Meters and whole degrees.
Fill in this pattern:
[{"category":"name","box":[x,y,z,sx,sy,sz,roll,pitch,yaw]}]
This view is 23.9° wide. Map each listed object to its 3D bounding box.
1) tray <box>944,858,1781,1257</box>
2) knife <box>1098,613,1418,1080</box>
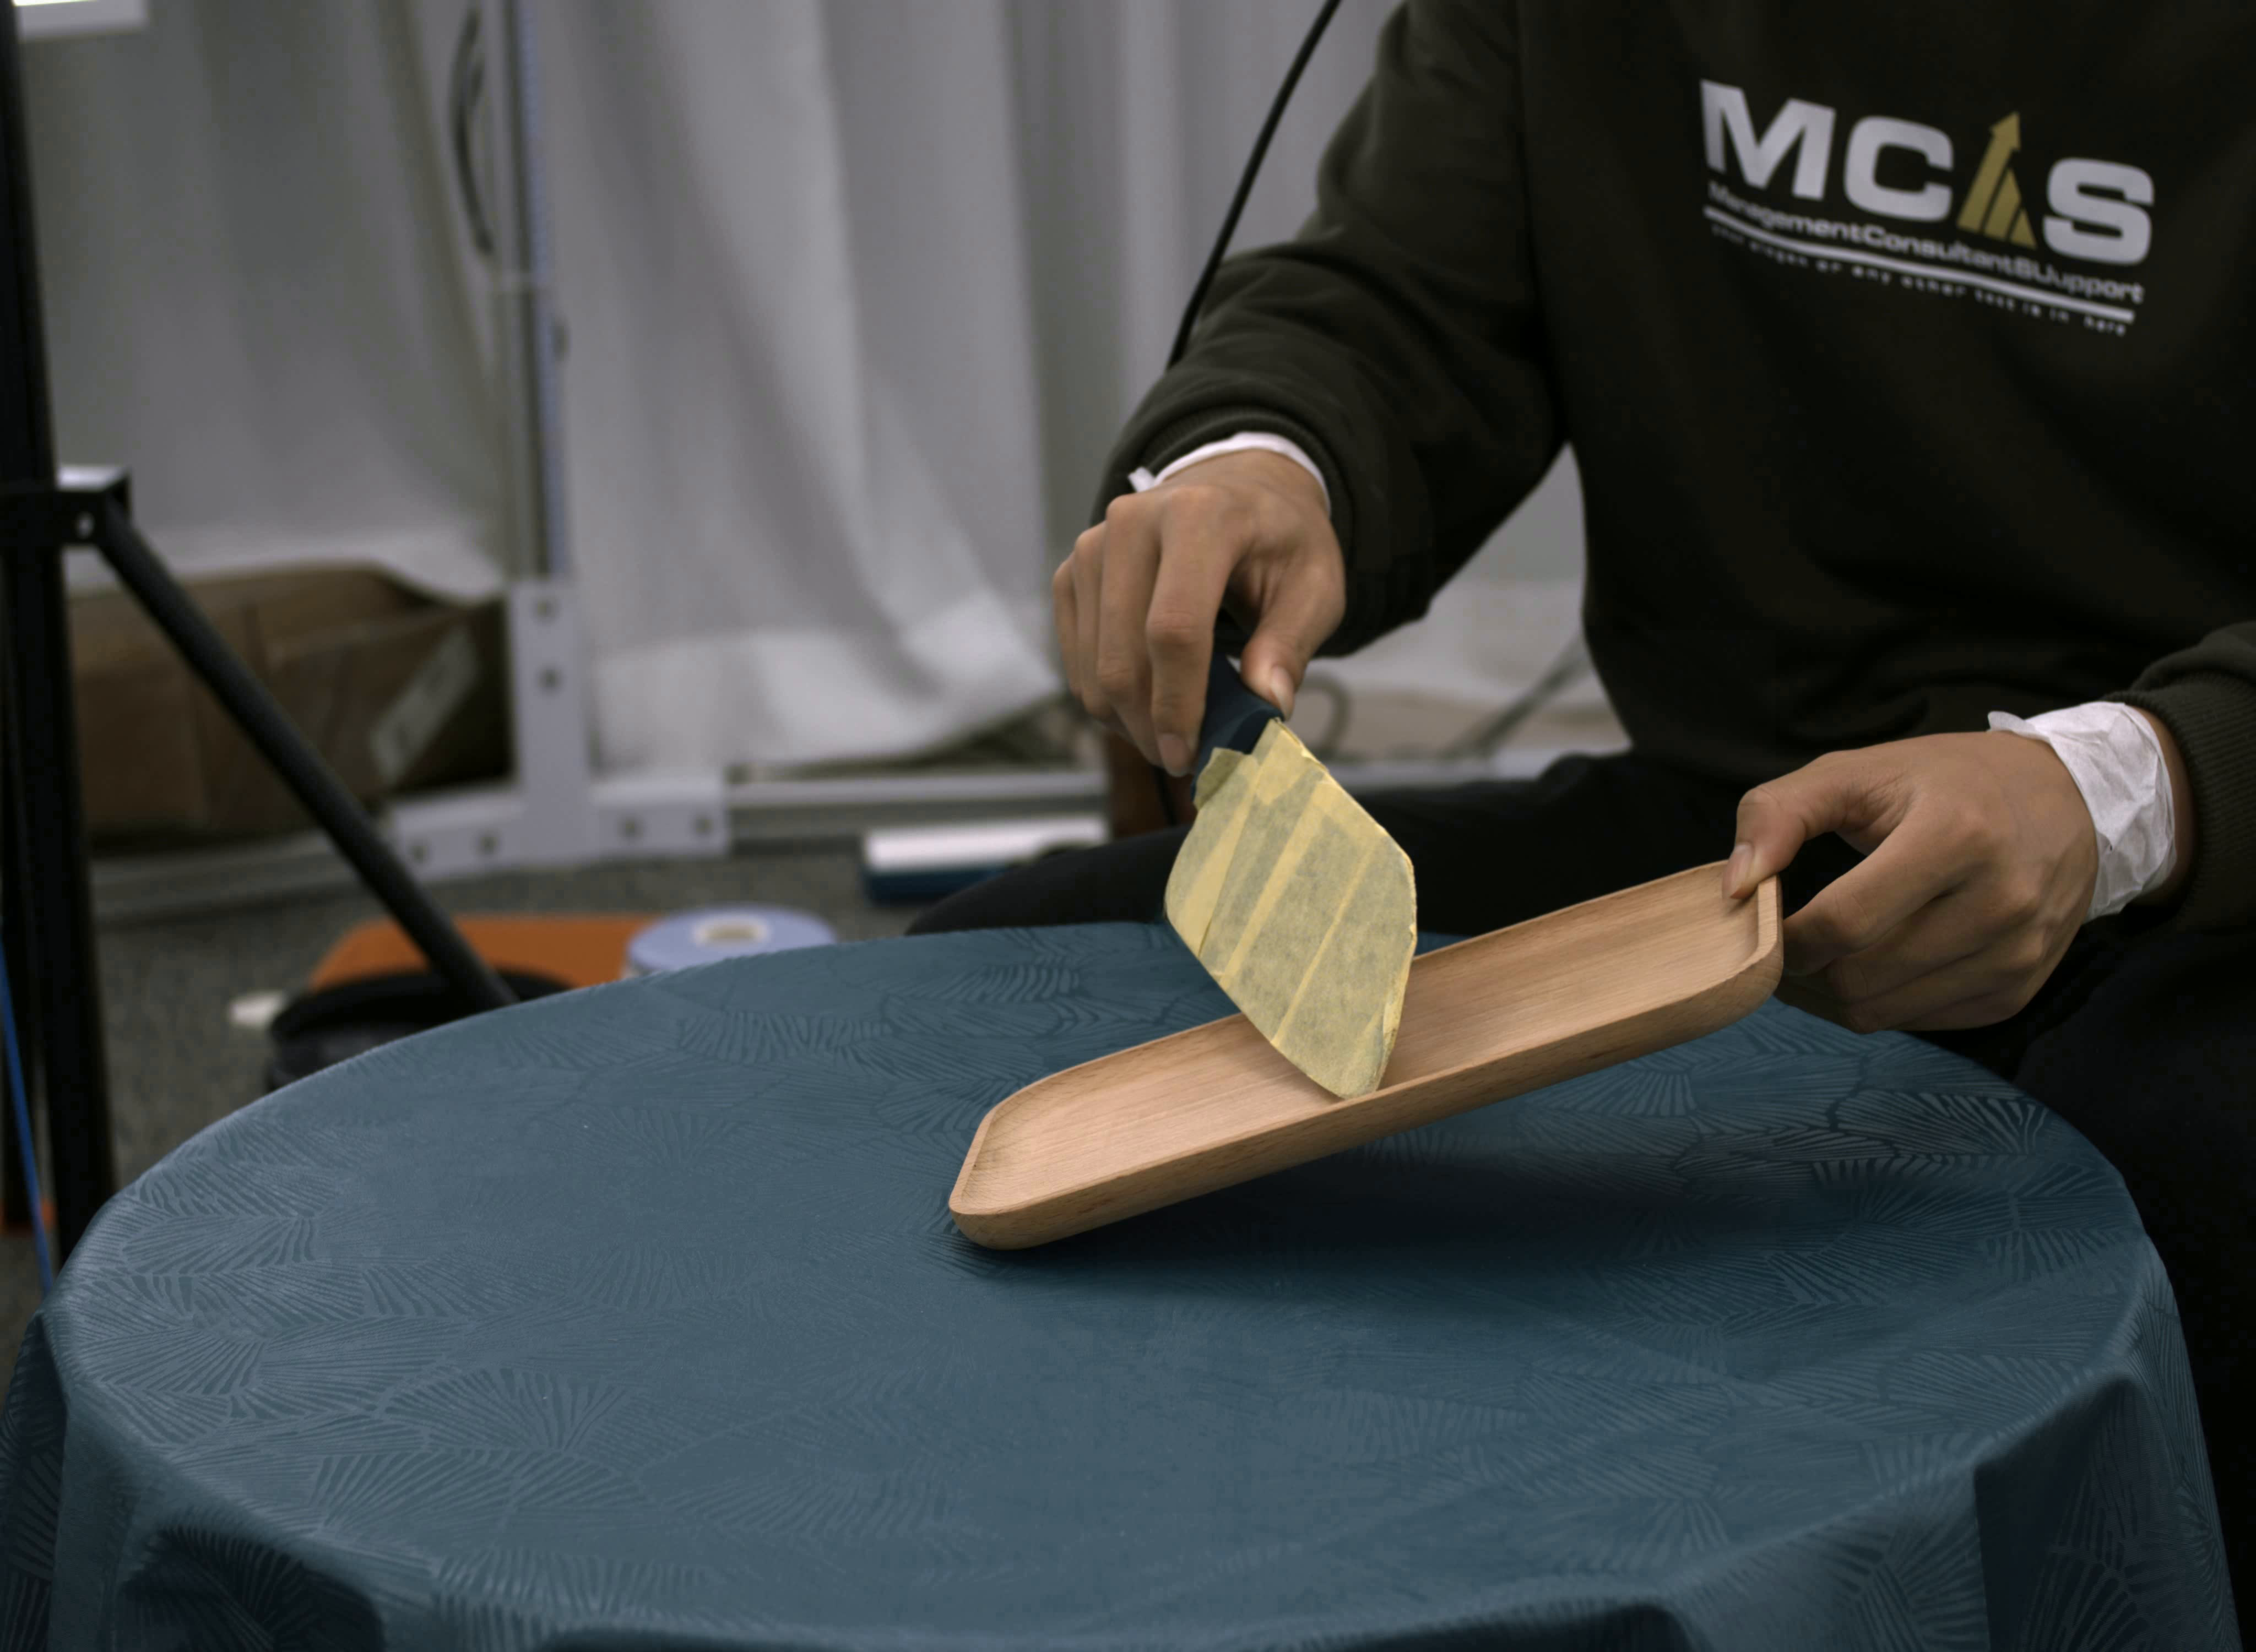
[{"category":"tray","box":[0.069,0.067,1.532,0.252,0.023,0.130,-19,10,13]},{"category":"knife","box":[0.034,0.002,1.610,0.026,0.081,0.294,24,15,-24]}]
